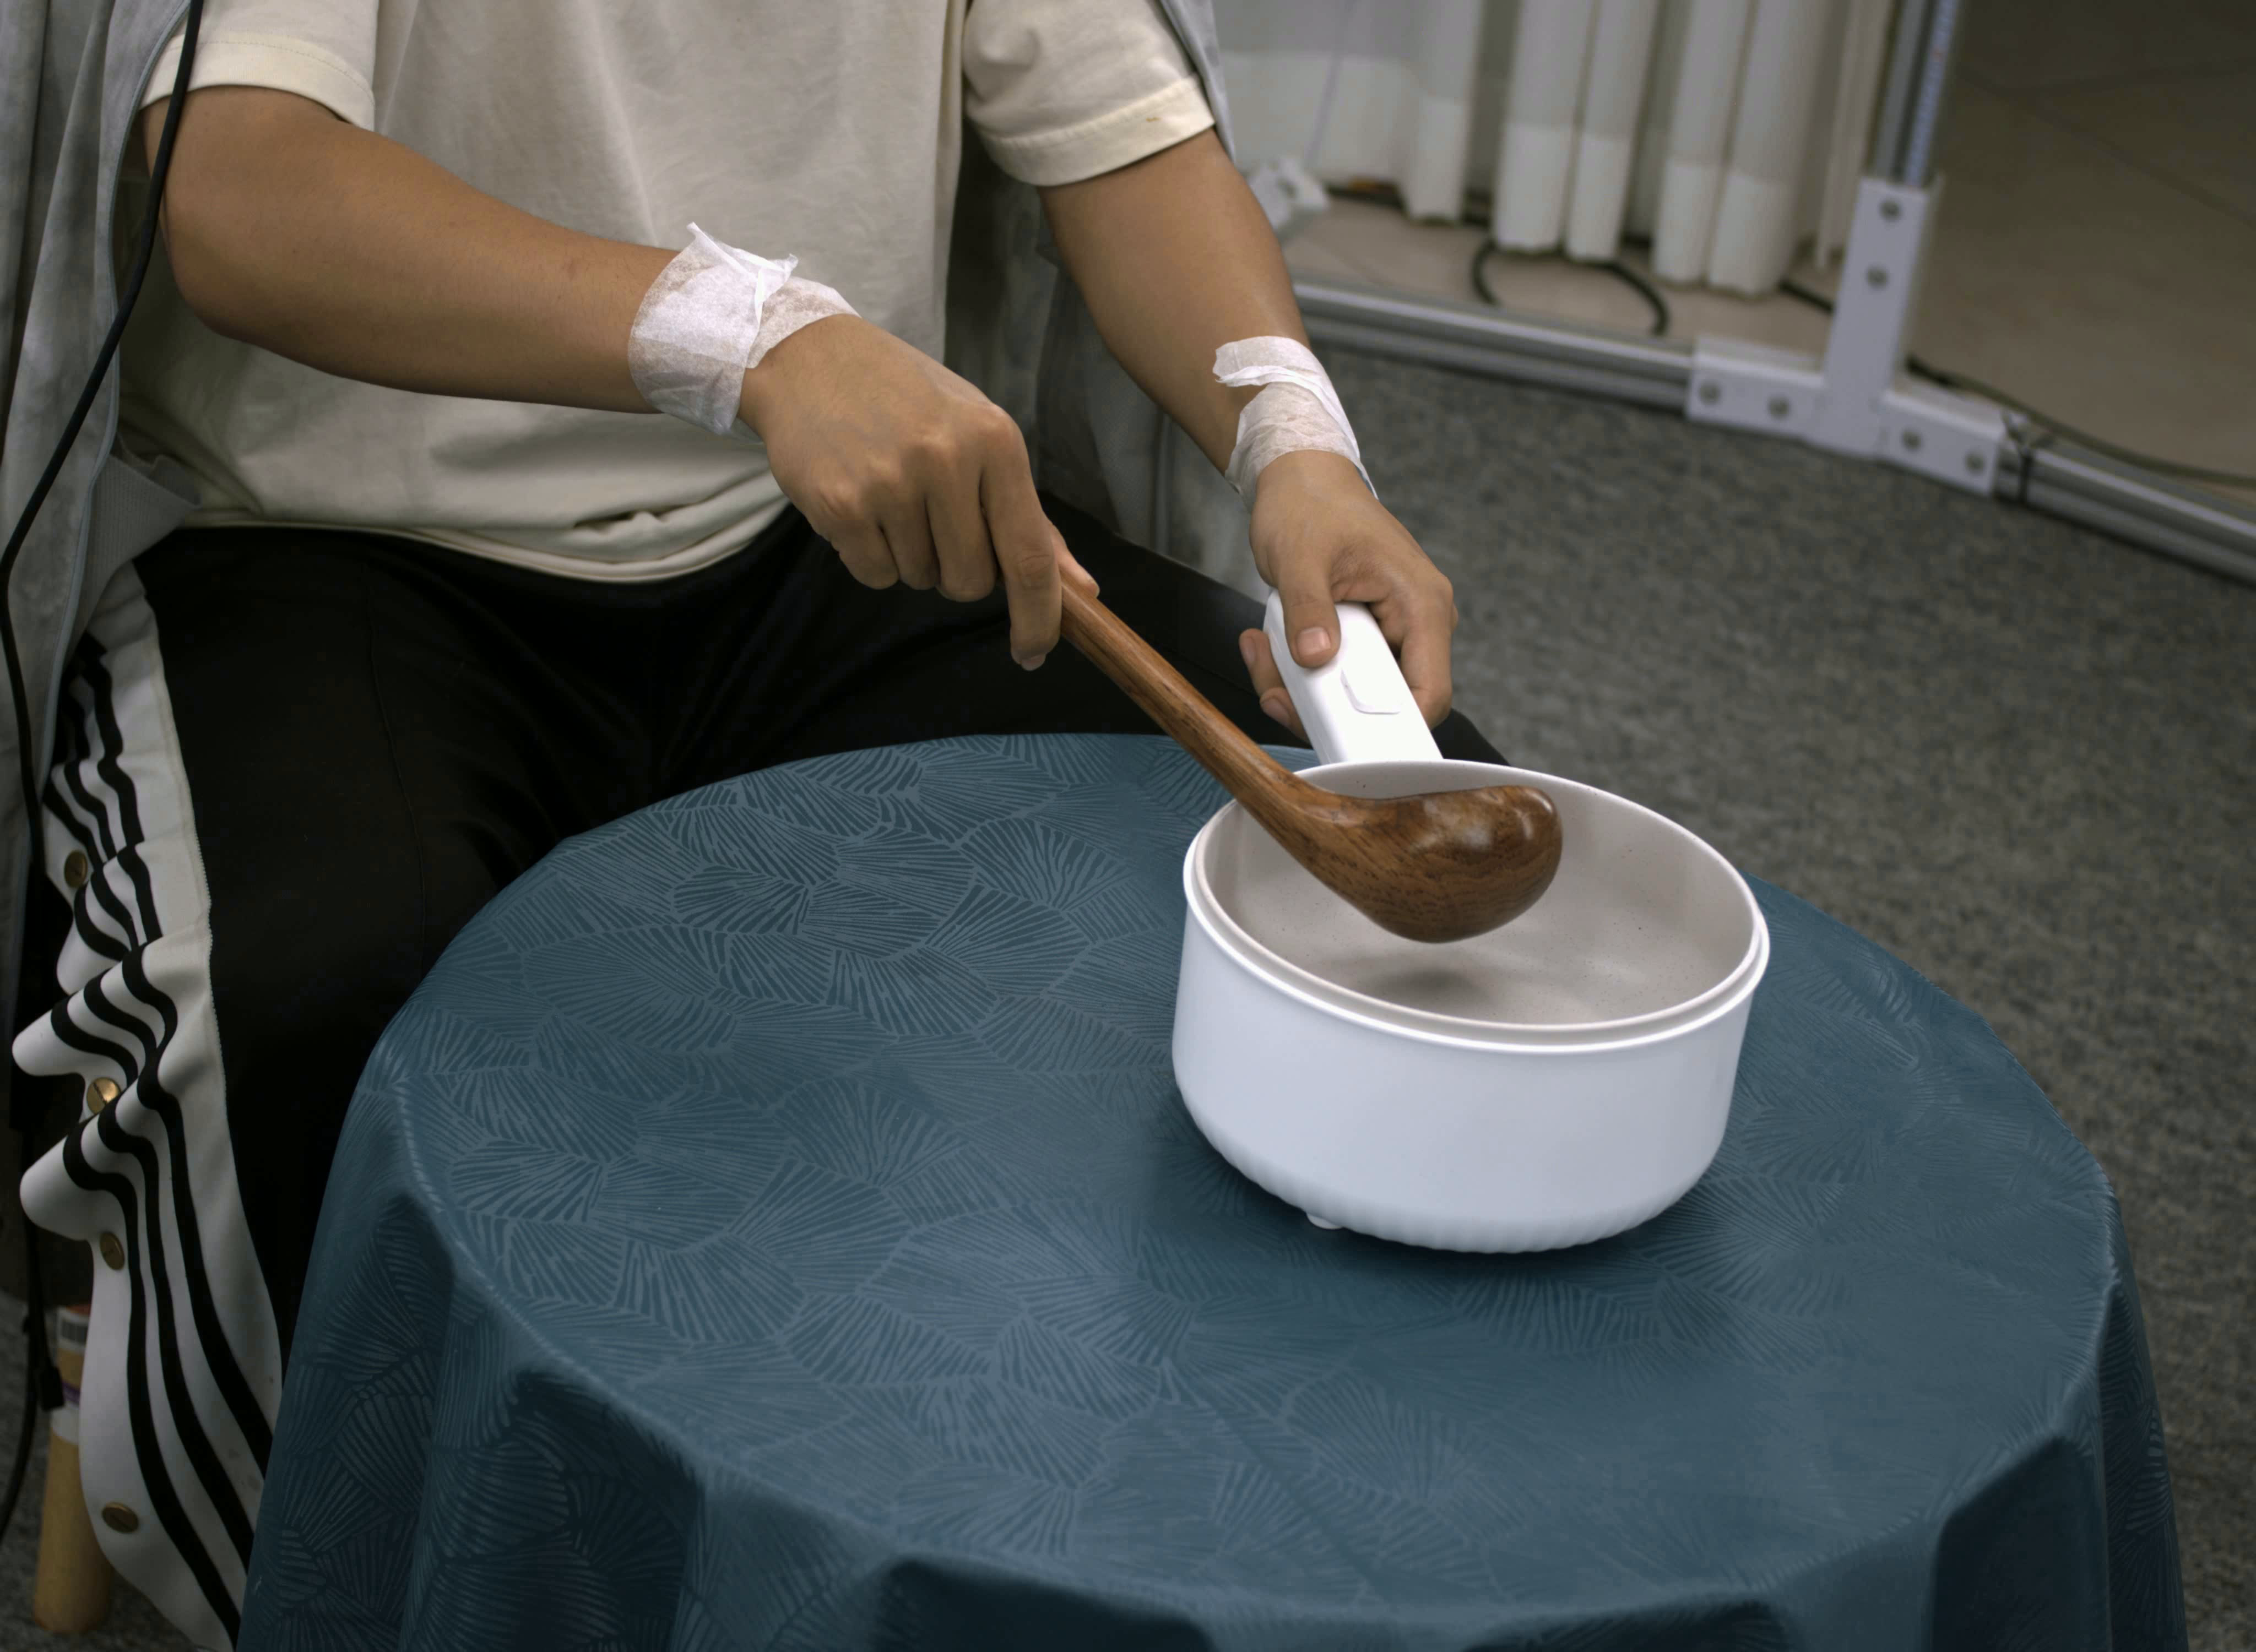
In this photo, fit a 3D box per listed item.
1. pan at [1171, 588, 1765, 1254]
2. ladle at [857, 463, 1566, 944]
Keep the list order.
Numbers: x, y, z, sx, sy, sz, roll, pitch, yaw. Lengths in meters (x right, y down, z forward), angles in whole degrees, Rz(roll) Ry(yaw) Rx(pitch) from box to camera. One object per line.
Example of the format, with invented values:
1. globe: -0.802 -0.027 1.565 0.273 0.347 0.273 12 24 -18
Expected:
1. pan: 0.100 0.031 1.902 0.200 0.102 0.357 0 27 -11
2. ladle: 0.032 -0.054 1.862 0.275 0.082 0.076 39 43 11
